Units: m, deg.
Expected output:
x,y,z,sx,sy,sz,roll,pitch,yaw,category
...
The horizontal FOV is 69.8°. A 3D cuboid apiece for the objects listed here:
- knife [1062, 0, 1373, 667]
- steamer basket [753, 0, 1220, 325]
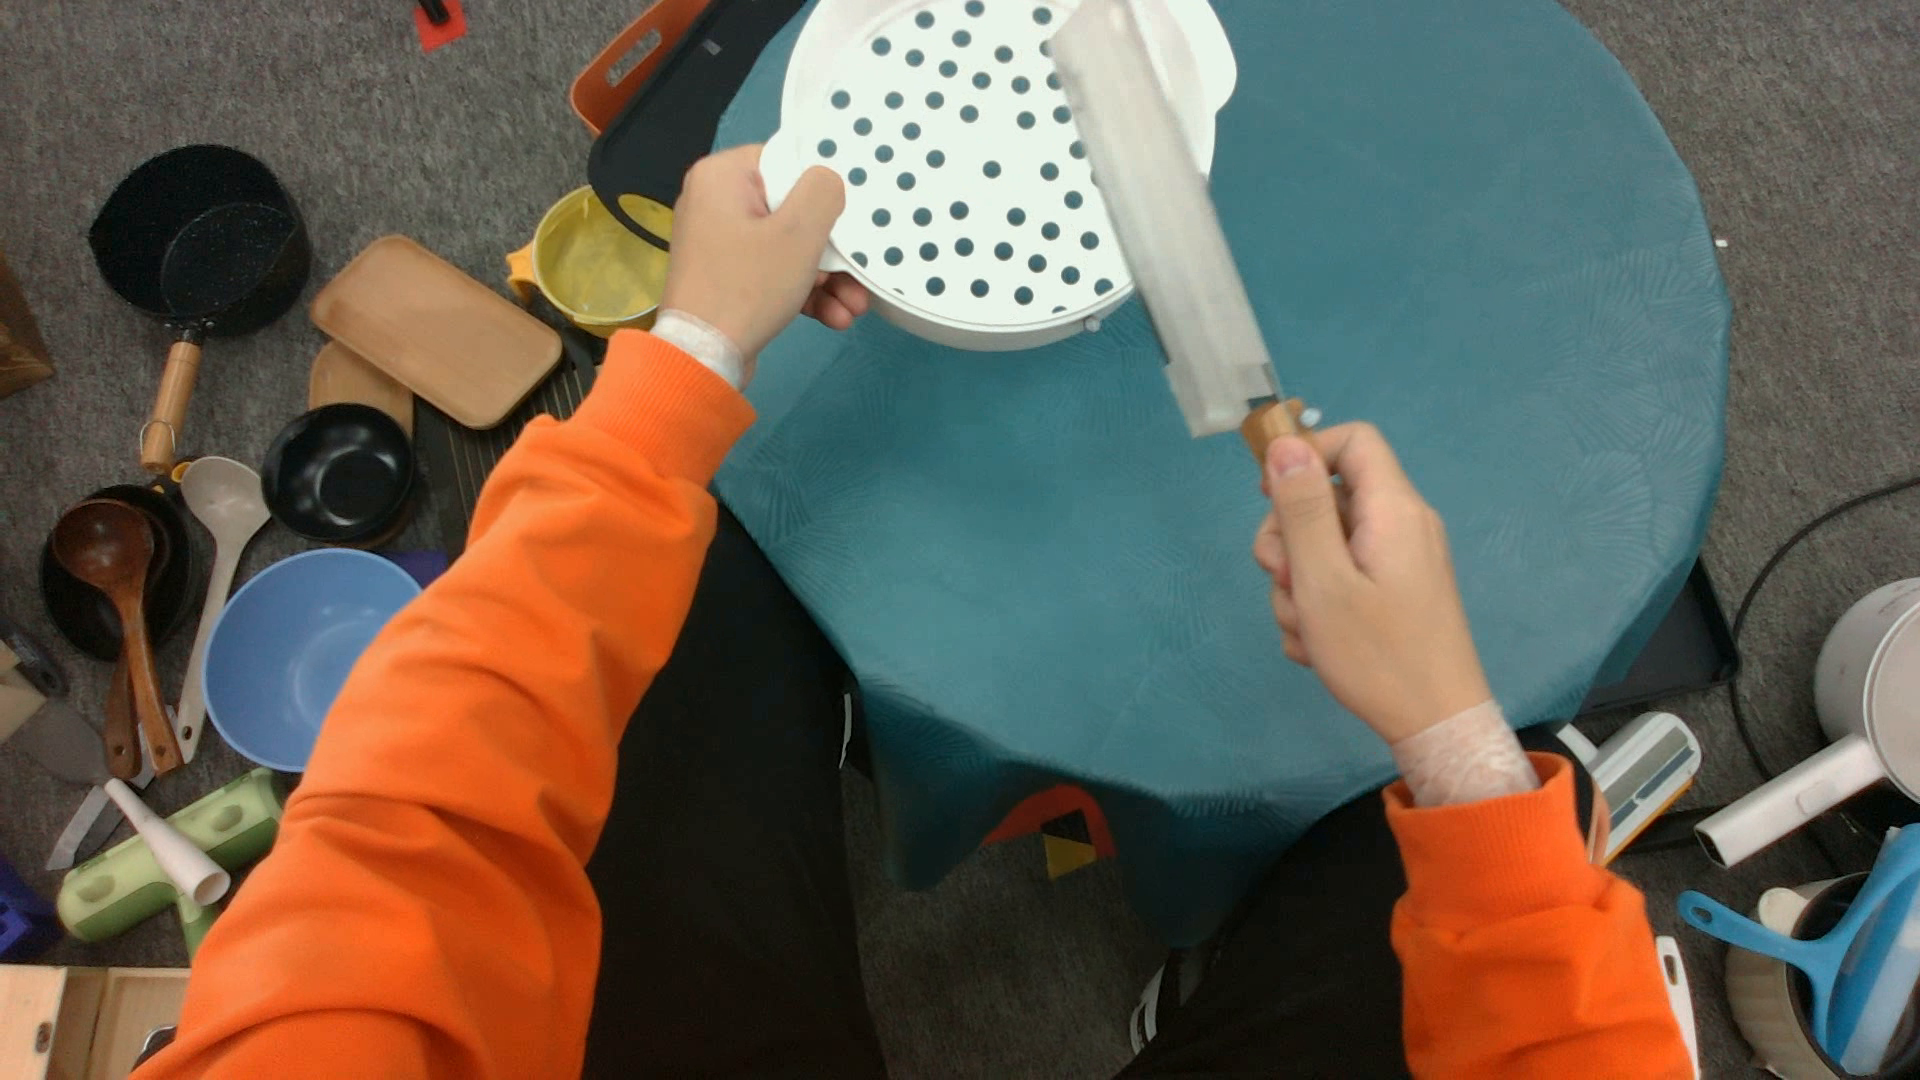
x,y,z,sx,sy,sz,roll,pitch,yaw,category
0.103,-0.091,0.588,0.021,0.093,0.305,-21,95,-16,knife
0.013,-0.206,0.671,0.231,0.069,0.202,-26,86,-8,steamer basket
